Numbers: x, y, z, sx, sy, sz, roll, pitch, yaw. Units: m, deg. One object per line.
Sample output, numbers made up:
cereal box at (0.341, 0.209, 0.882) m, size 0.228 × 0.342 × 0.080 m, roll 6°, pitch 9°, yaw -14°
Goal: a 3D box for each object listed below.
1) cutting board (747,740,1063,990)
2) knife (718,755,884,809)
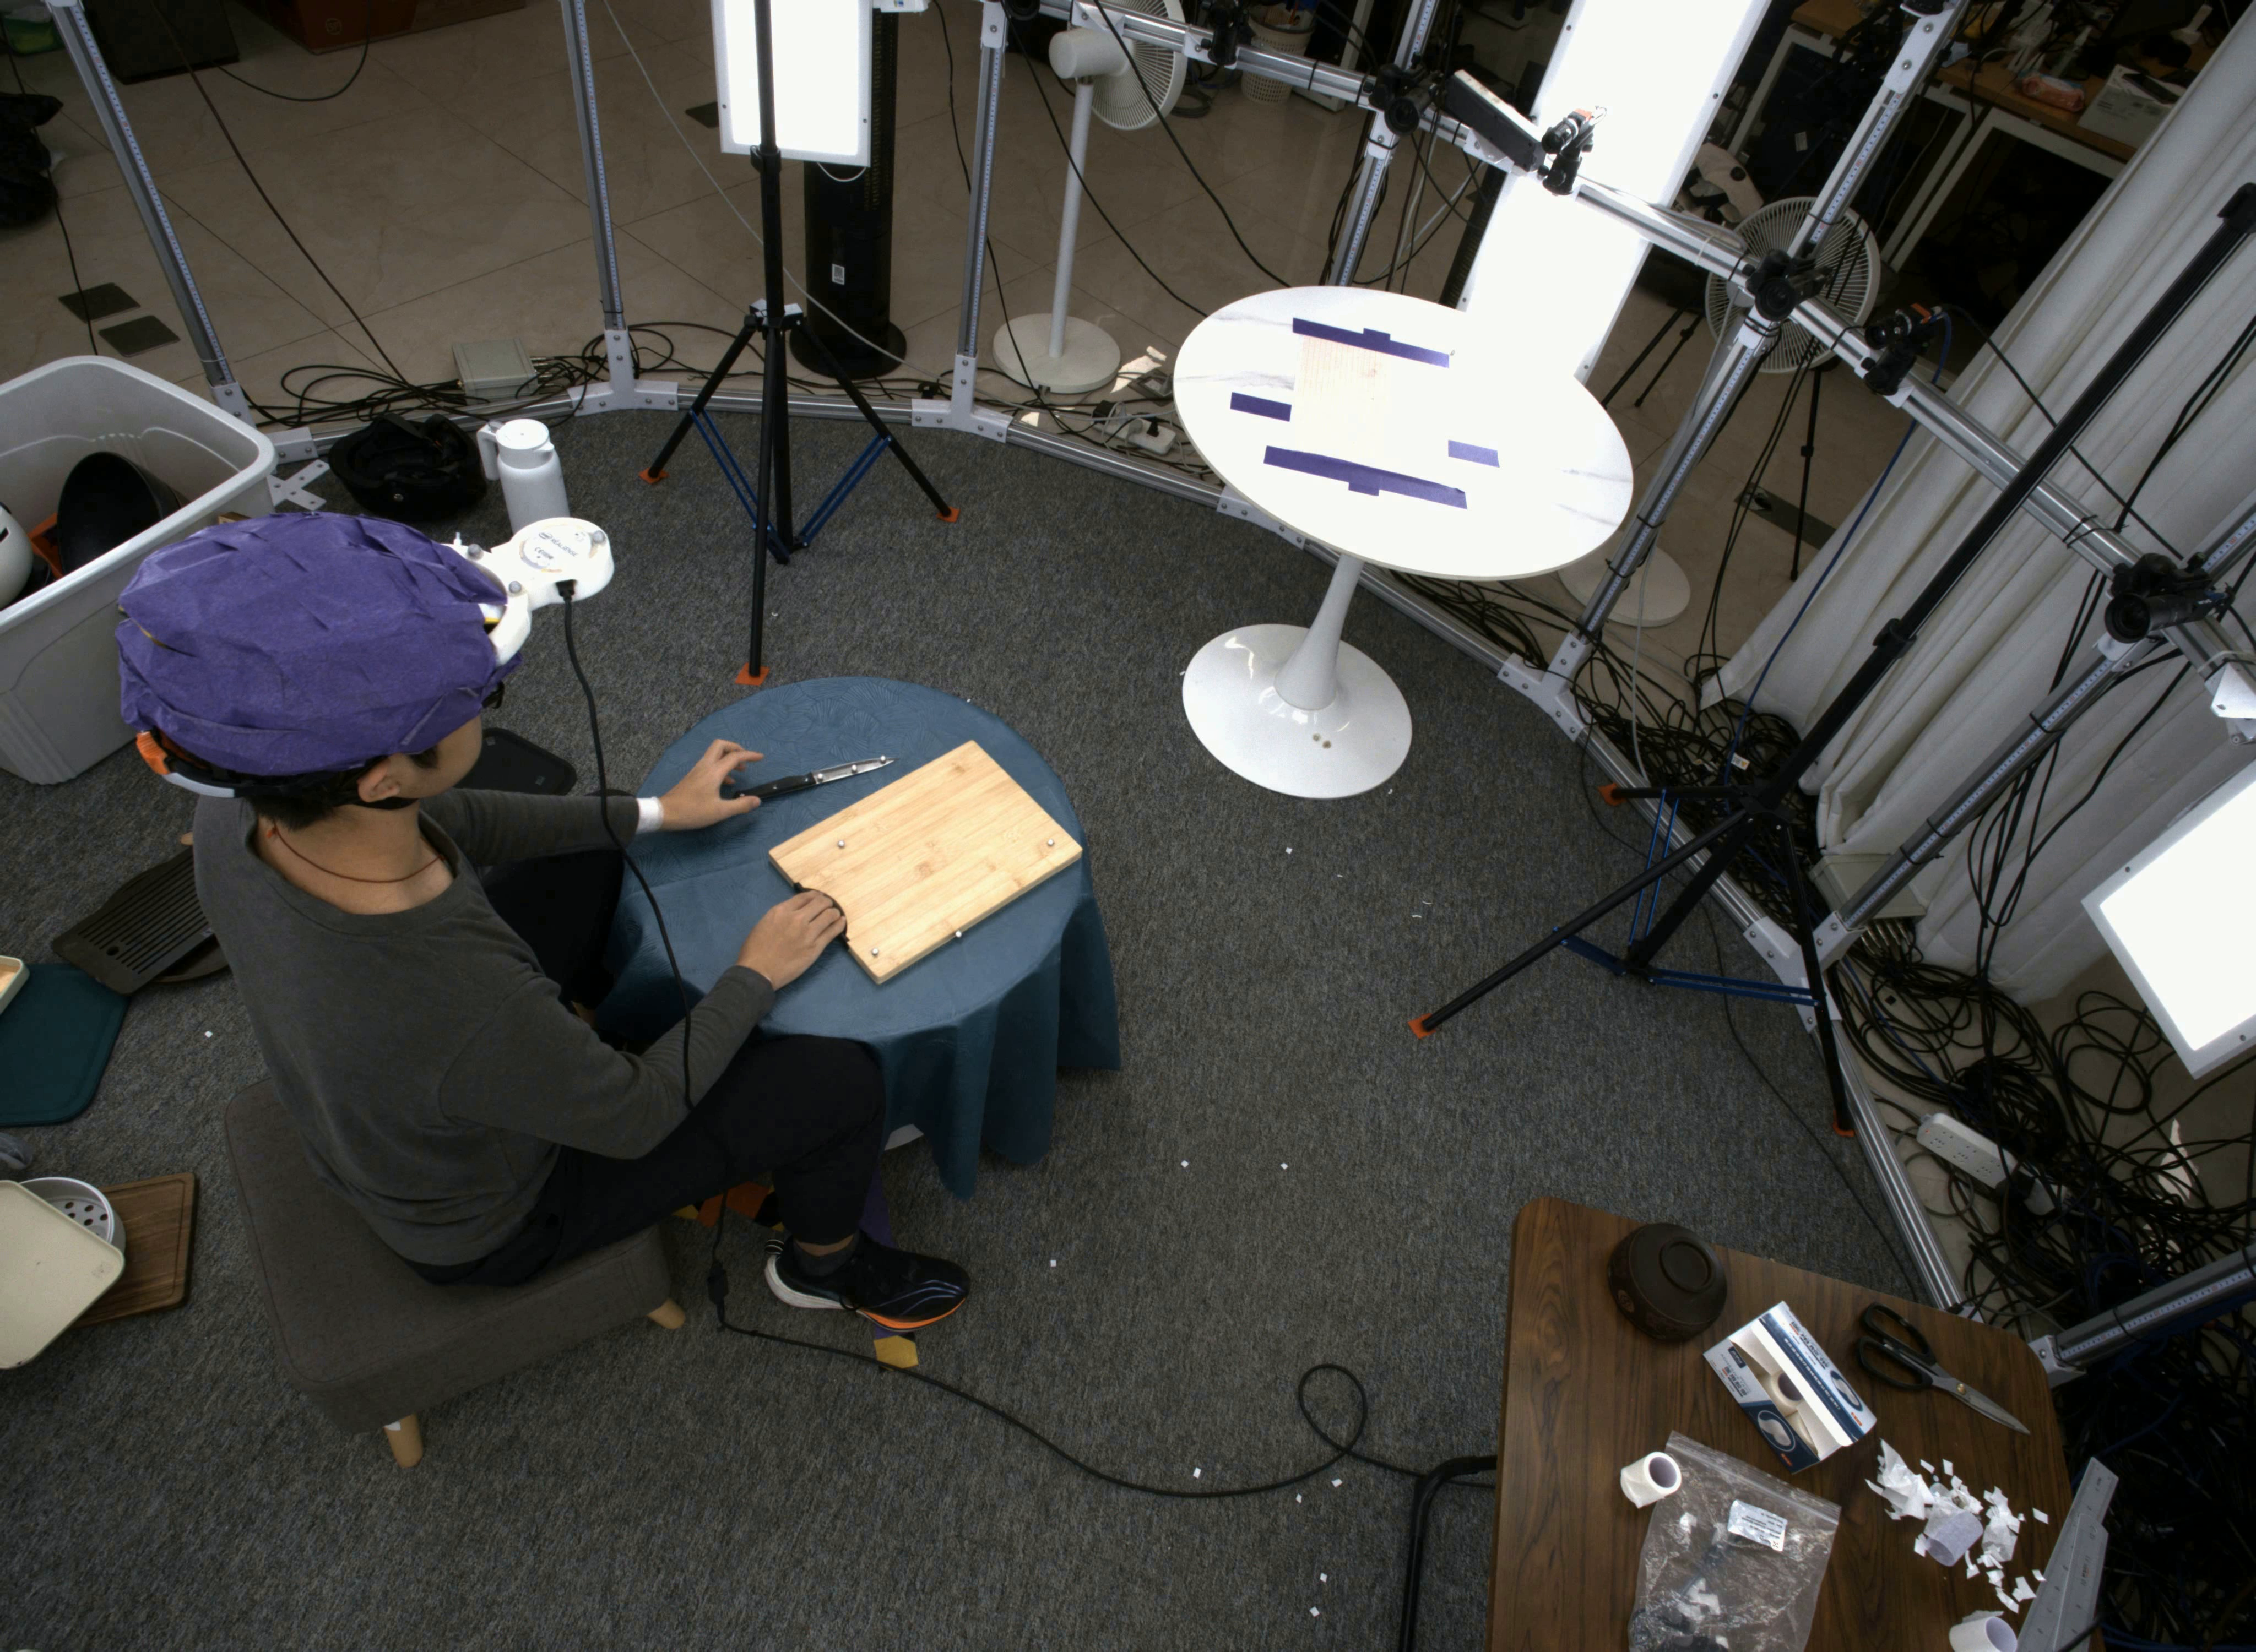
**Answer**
cutting board at (-0.289, 0.040, 1.730) m, size 0.245 × 0.024 × 0.349 m, roll 43°, pitch 55°, yaw 18°
knife at (-0.442, -0.064, 1.771) m, size 0.240 × 0.016 × 0.024 m, roll -19°, pitch 62°, yaw -29°
